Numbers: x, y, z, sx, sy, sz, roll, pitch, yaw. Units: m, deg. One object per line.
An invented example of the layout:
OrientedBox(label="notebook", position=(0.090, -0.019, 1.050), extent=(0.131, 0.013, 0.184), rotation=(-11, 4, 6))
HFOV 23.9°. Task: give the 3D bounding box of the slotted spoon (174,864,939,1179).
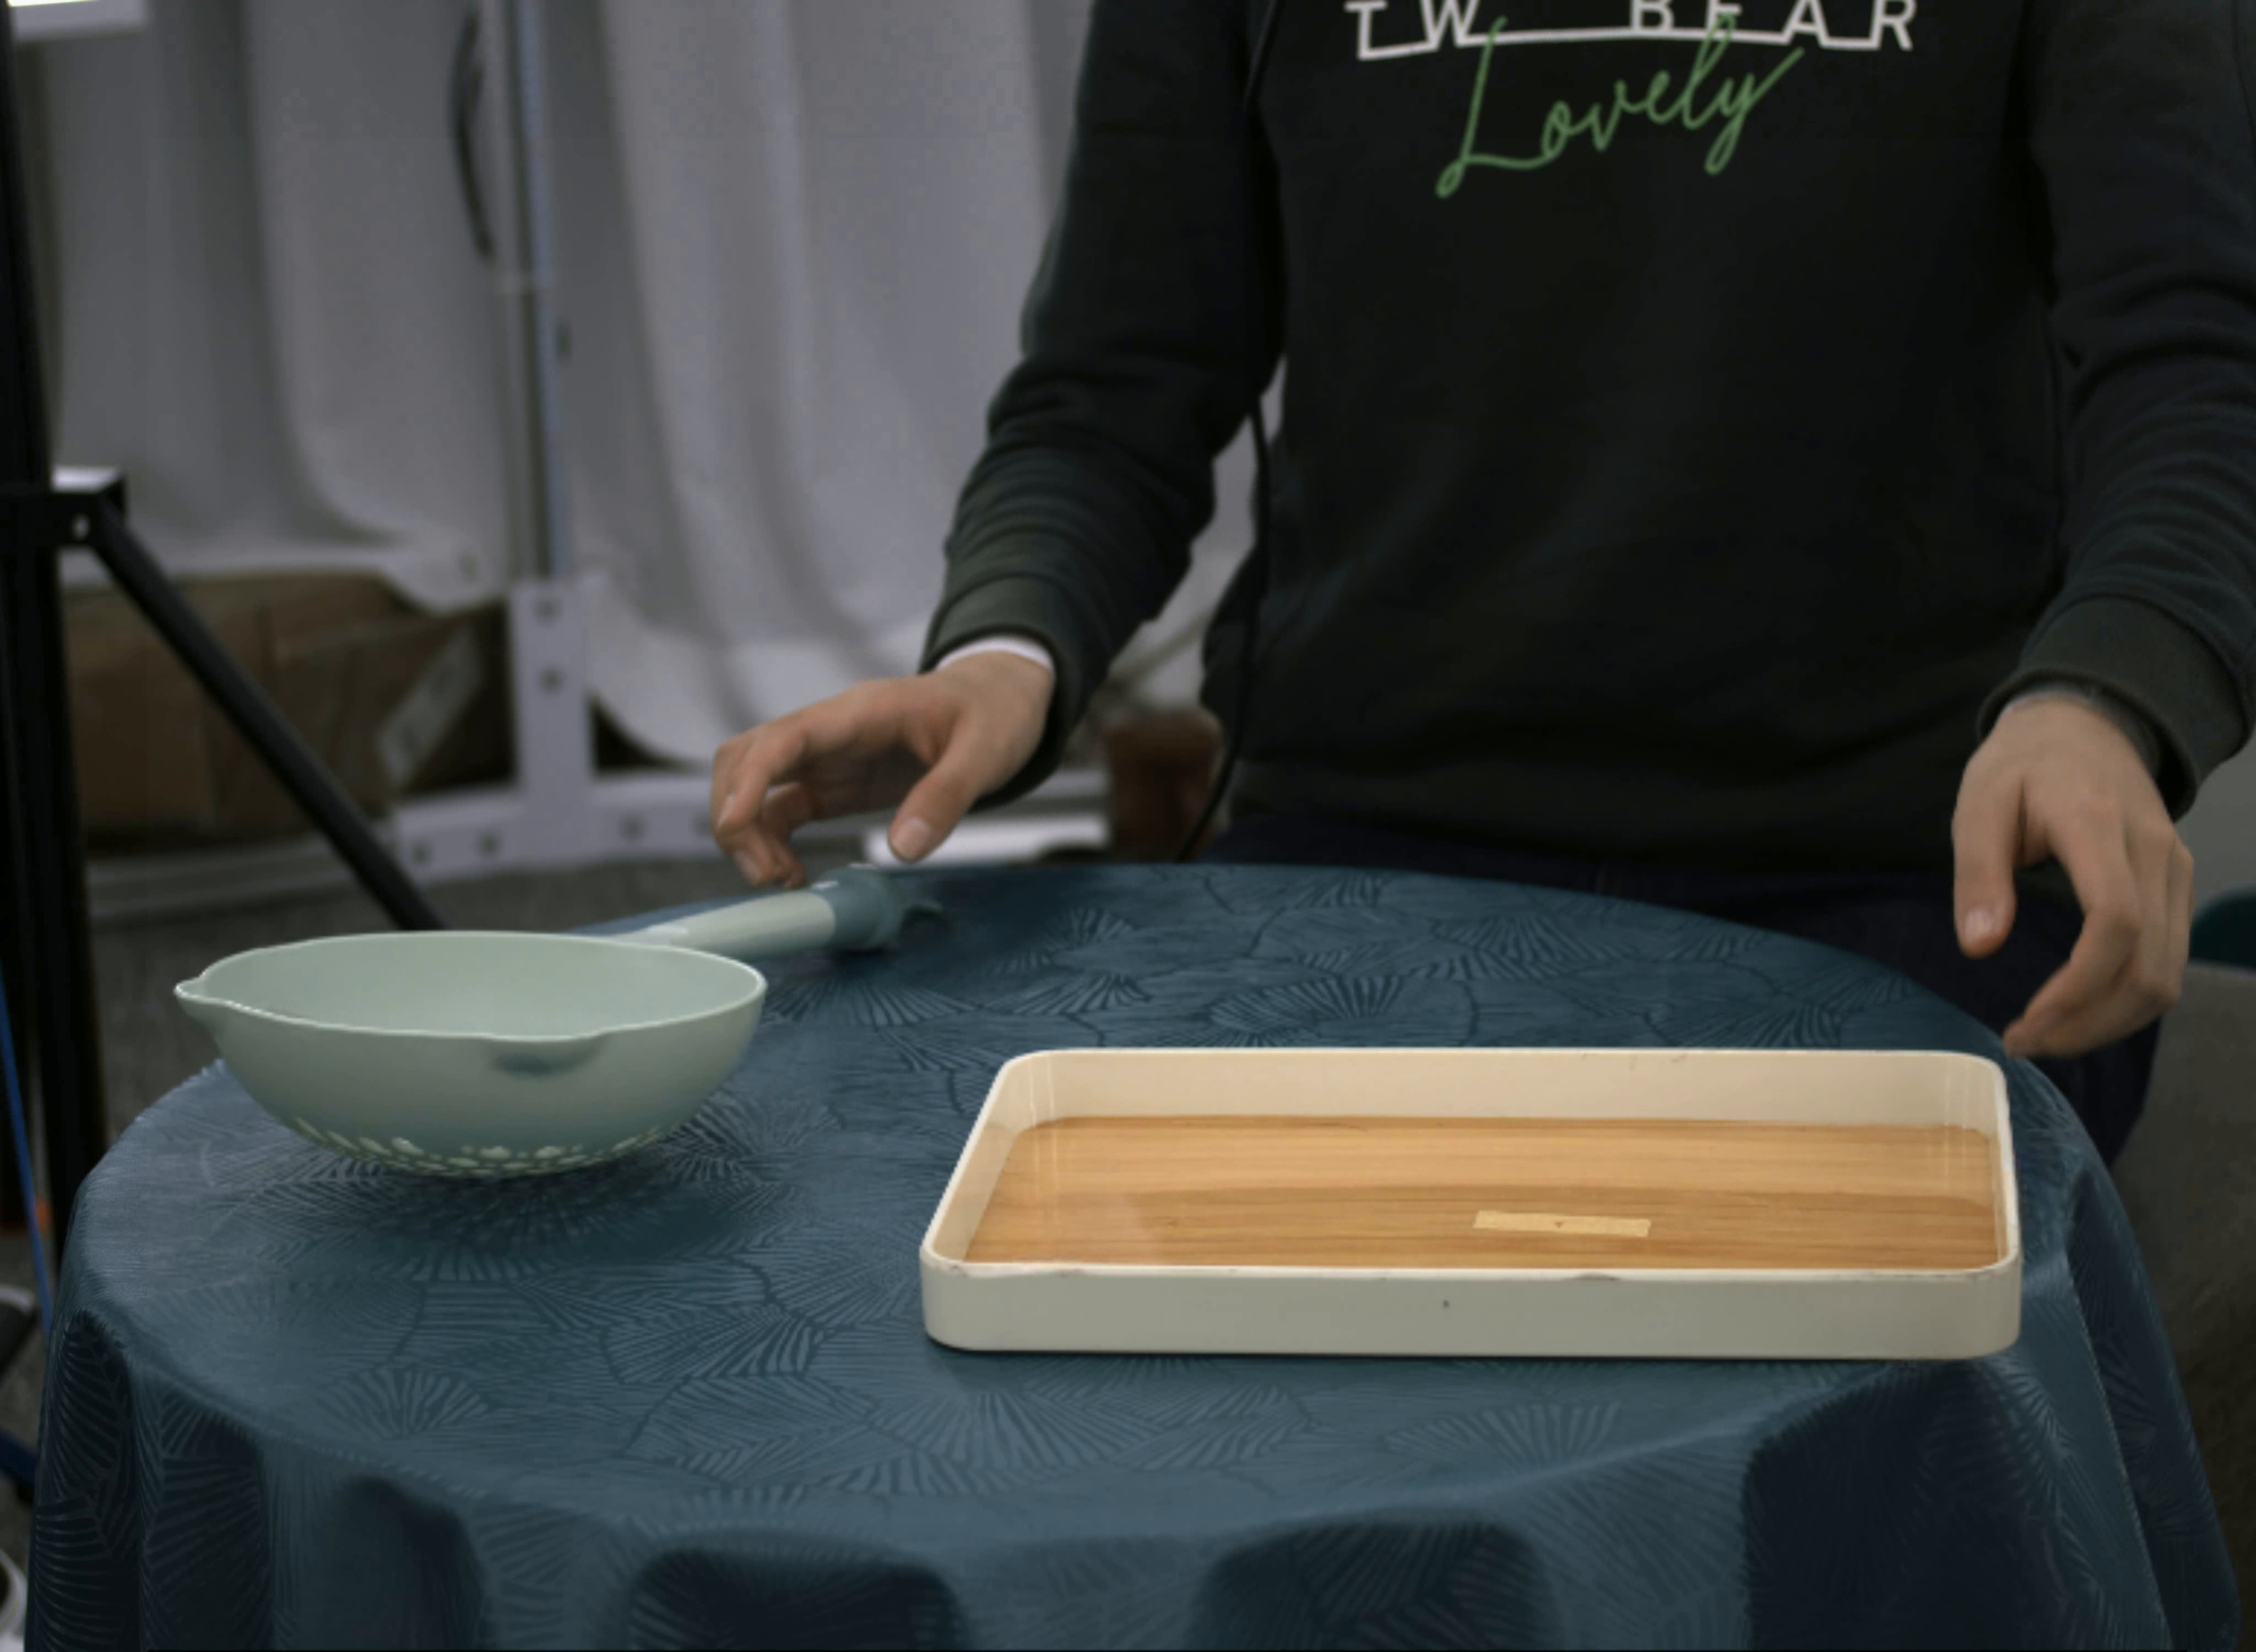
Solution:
OrientedBox(label="slotted spoon", position=(-0.150, 0.046, 1.683), extent=(0.172, 0.075, 0.353), rotation=(6, 18, 26))

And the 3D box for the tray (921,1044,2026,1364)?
OrientedBox(label="tray", position=(0.101, 0.106, 1.501), extent=(0.301, 0.027, 0.191), rotation=(0, 16, 9))
